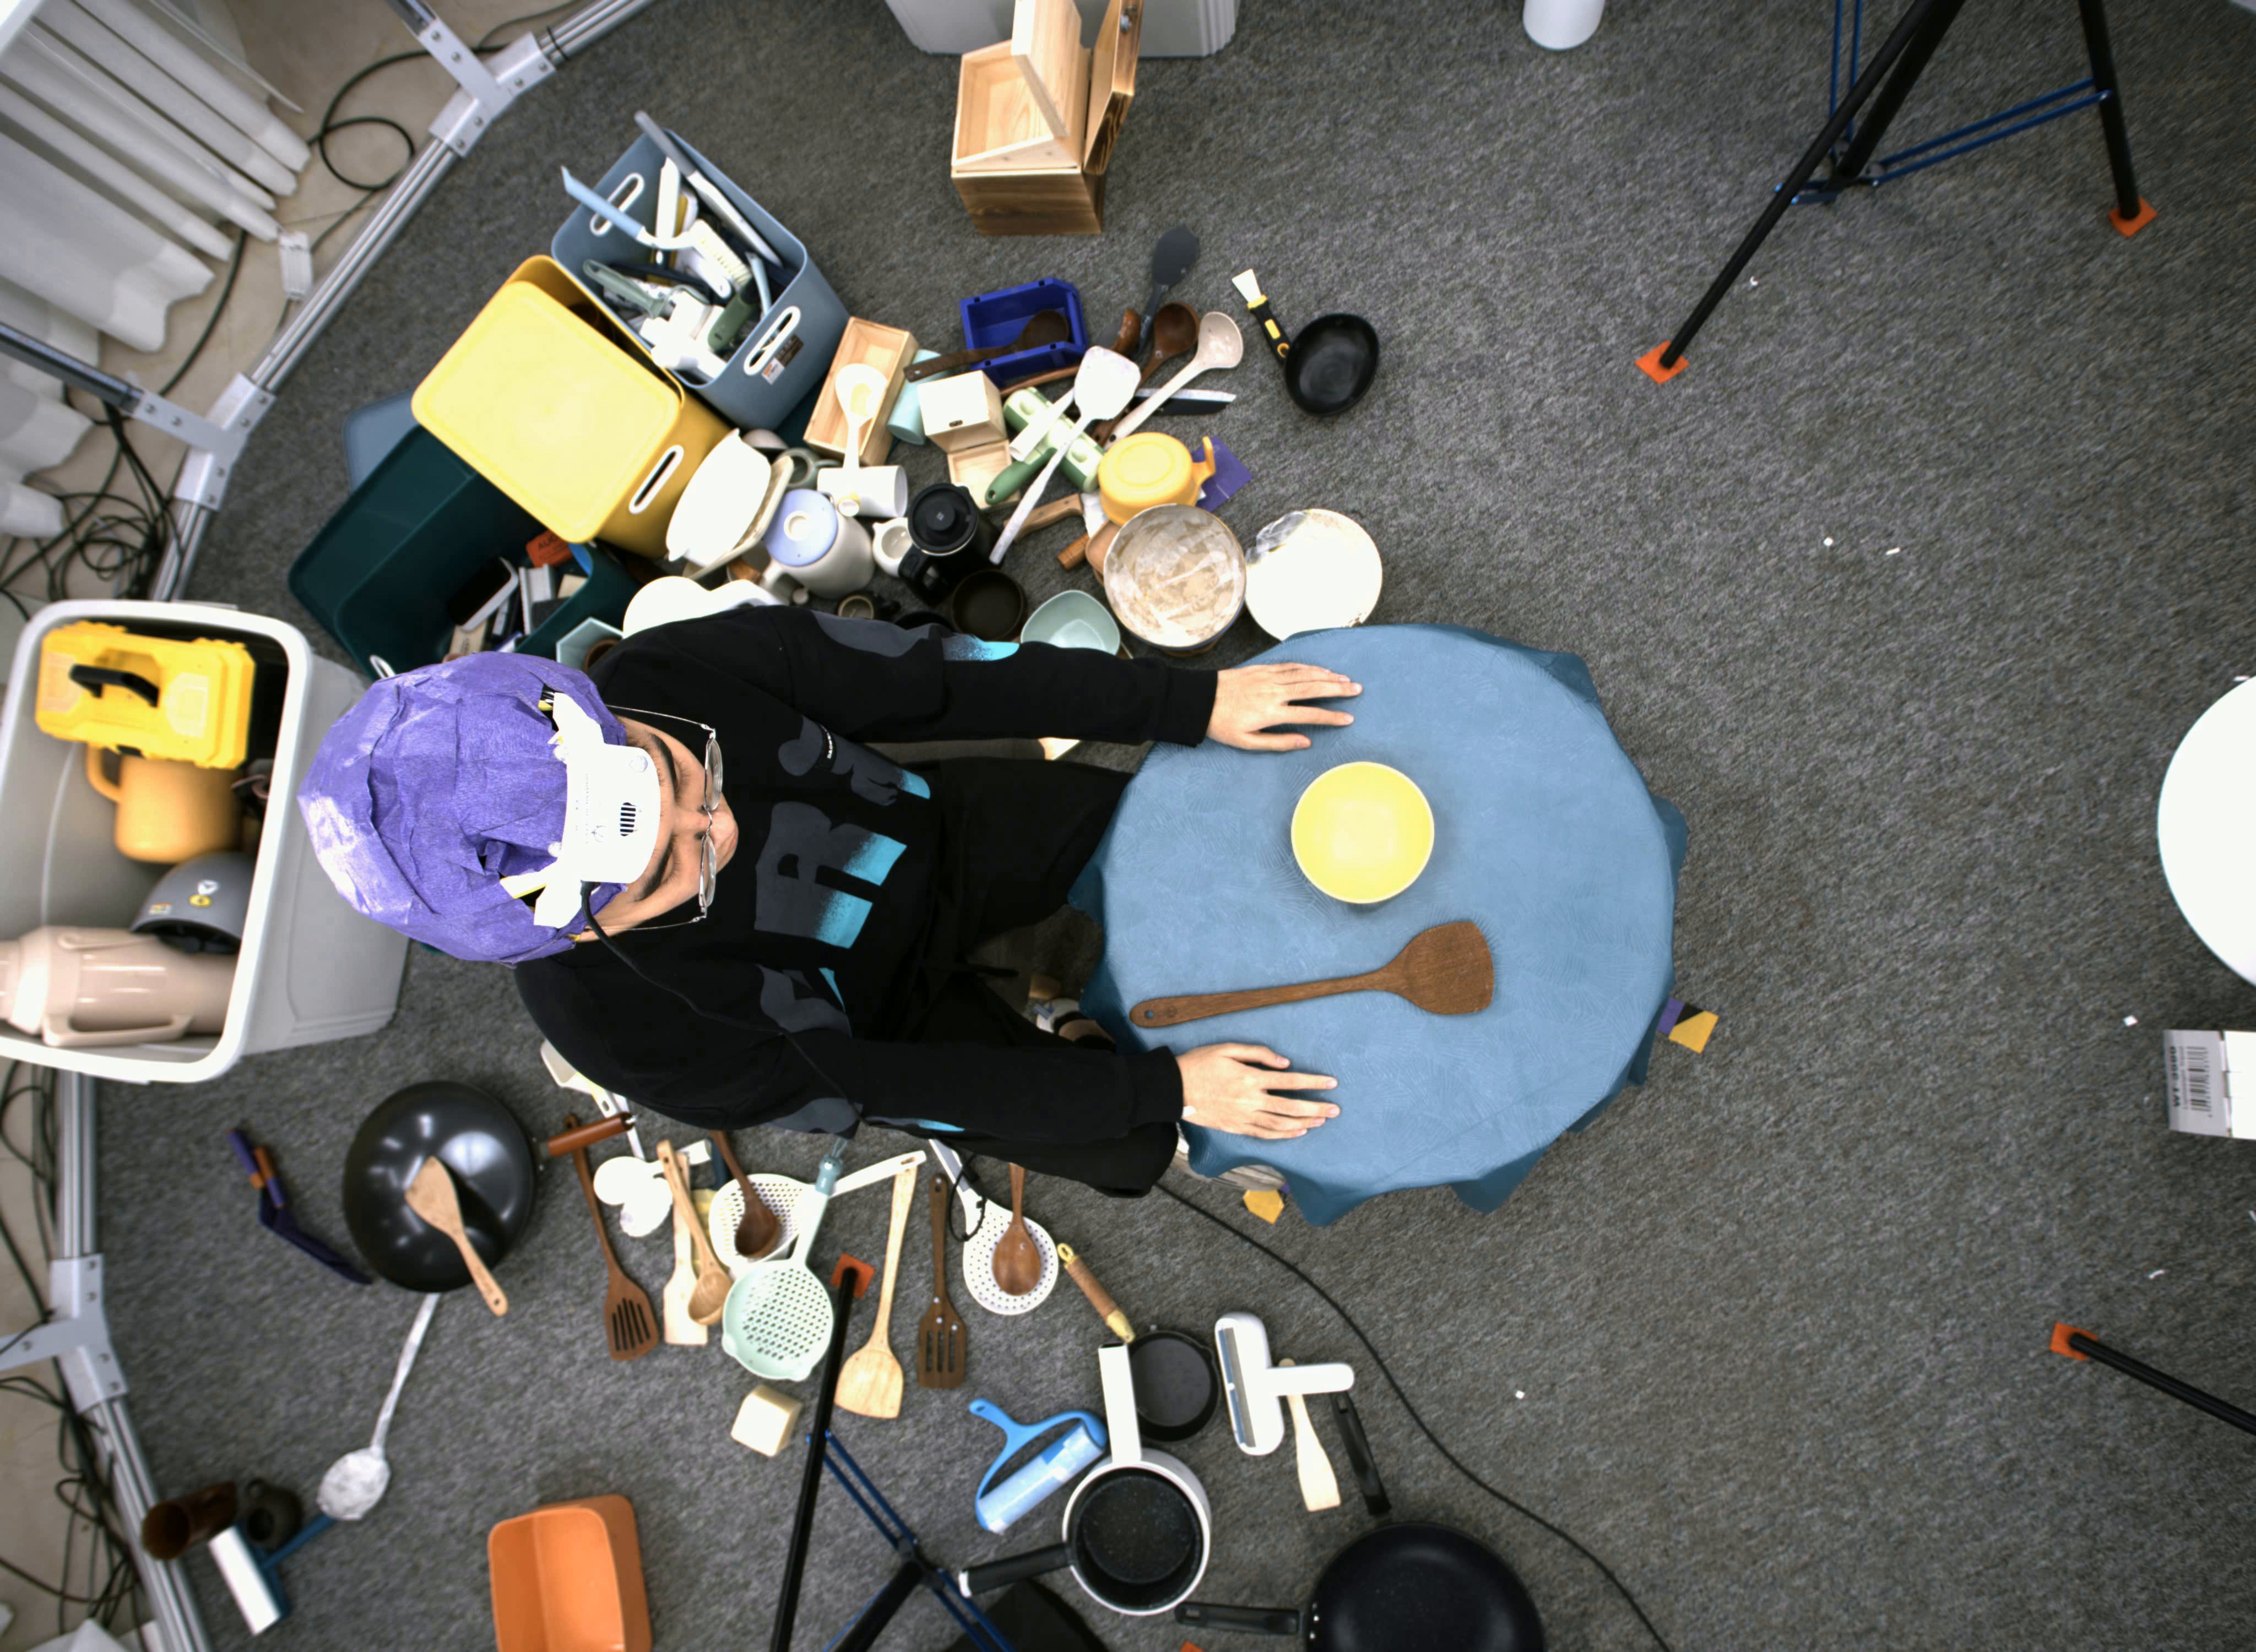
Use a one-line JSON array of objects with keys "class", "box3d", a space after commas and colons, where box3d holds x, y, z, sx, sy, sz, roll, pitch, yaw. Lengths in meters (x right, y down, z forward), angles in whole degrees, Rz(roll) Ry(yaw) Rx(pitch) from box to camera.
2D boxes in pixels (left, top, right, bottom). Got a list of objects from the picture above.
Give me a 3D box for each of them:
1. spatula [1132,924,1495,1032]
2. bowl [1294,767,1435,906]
[{"class": "spatula", "box3d": [0.192, 0.176, 1.465, 0.388, 0.016, 0.095, -10, 84, 10]}, {"class": "bowl", "box3d": [0.248, 0.013, 1.445, 0.146, 0.060, 0.144, -2, 83, 11]}]
